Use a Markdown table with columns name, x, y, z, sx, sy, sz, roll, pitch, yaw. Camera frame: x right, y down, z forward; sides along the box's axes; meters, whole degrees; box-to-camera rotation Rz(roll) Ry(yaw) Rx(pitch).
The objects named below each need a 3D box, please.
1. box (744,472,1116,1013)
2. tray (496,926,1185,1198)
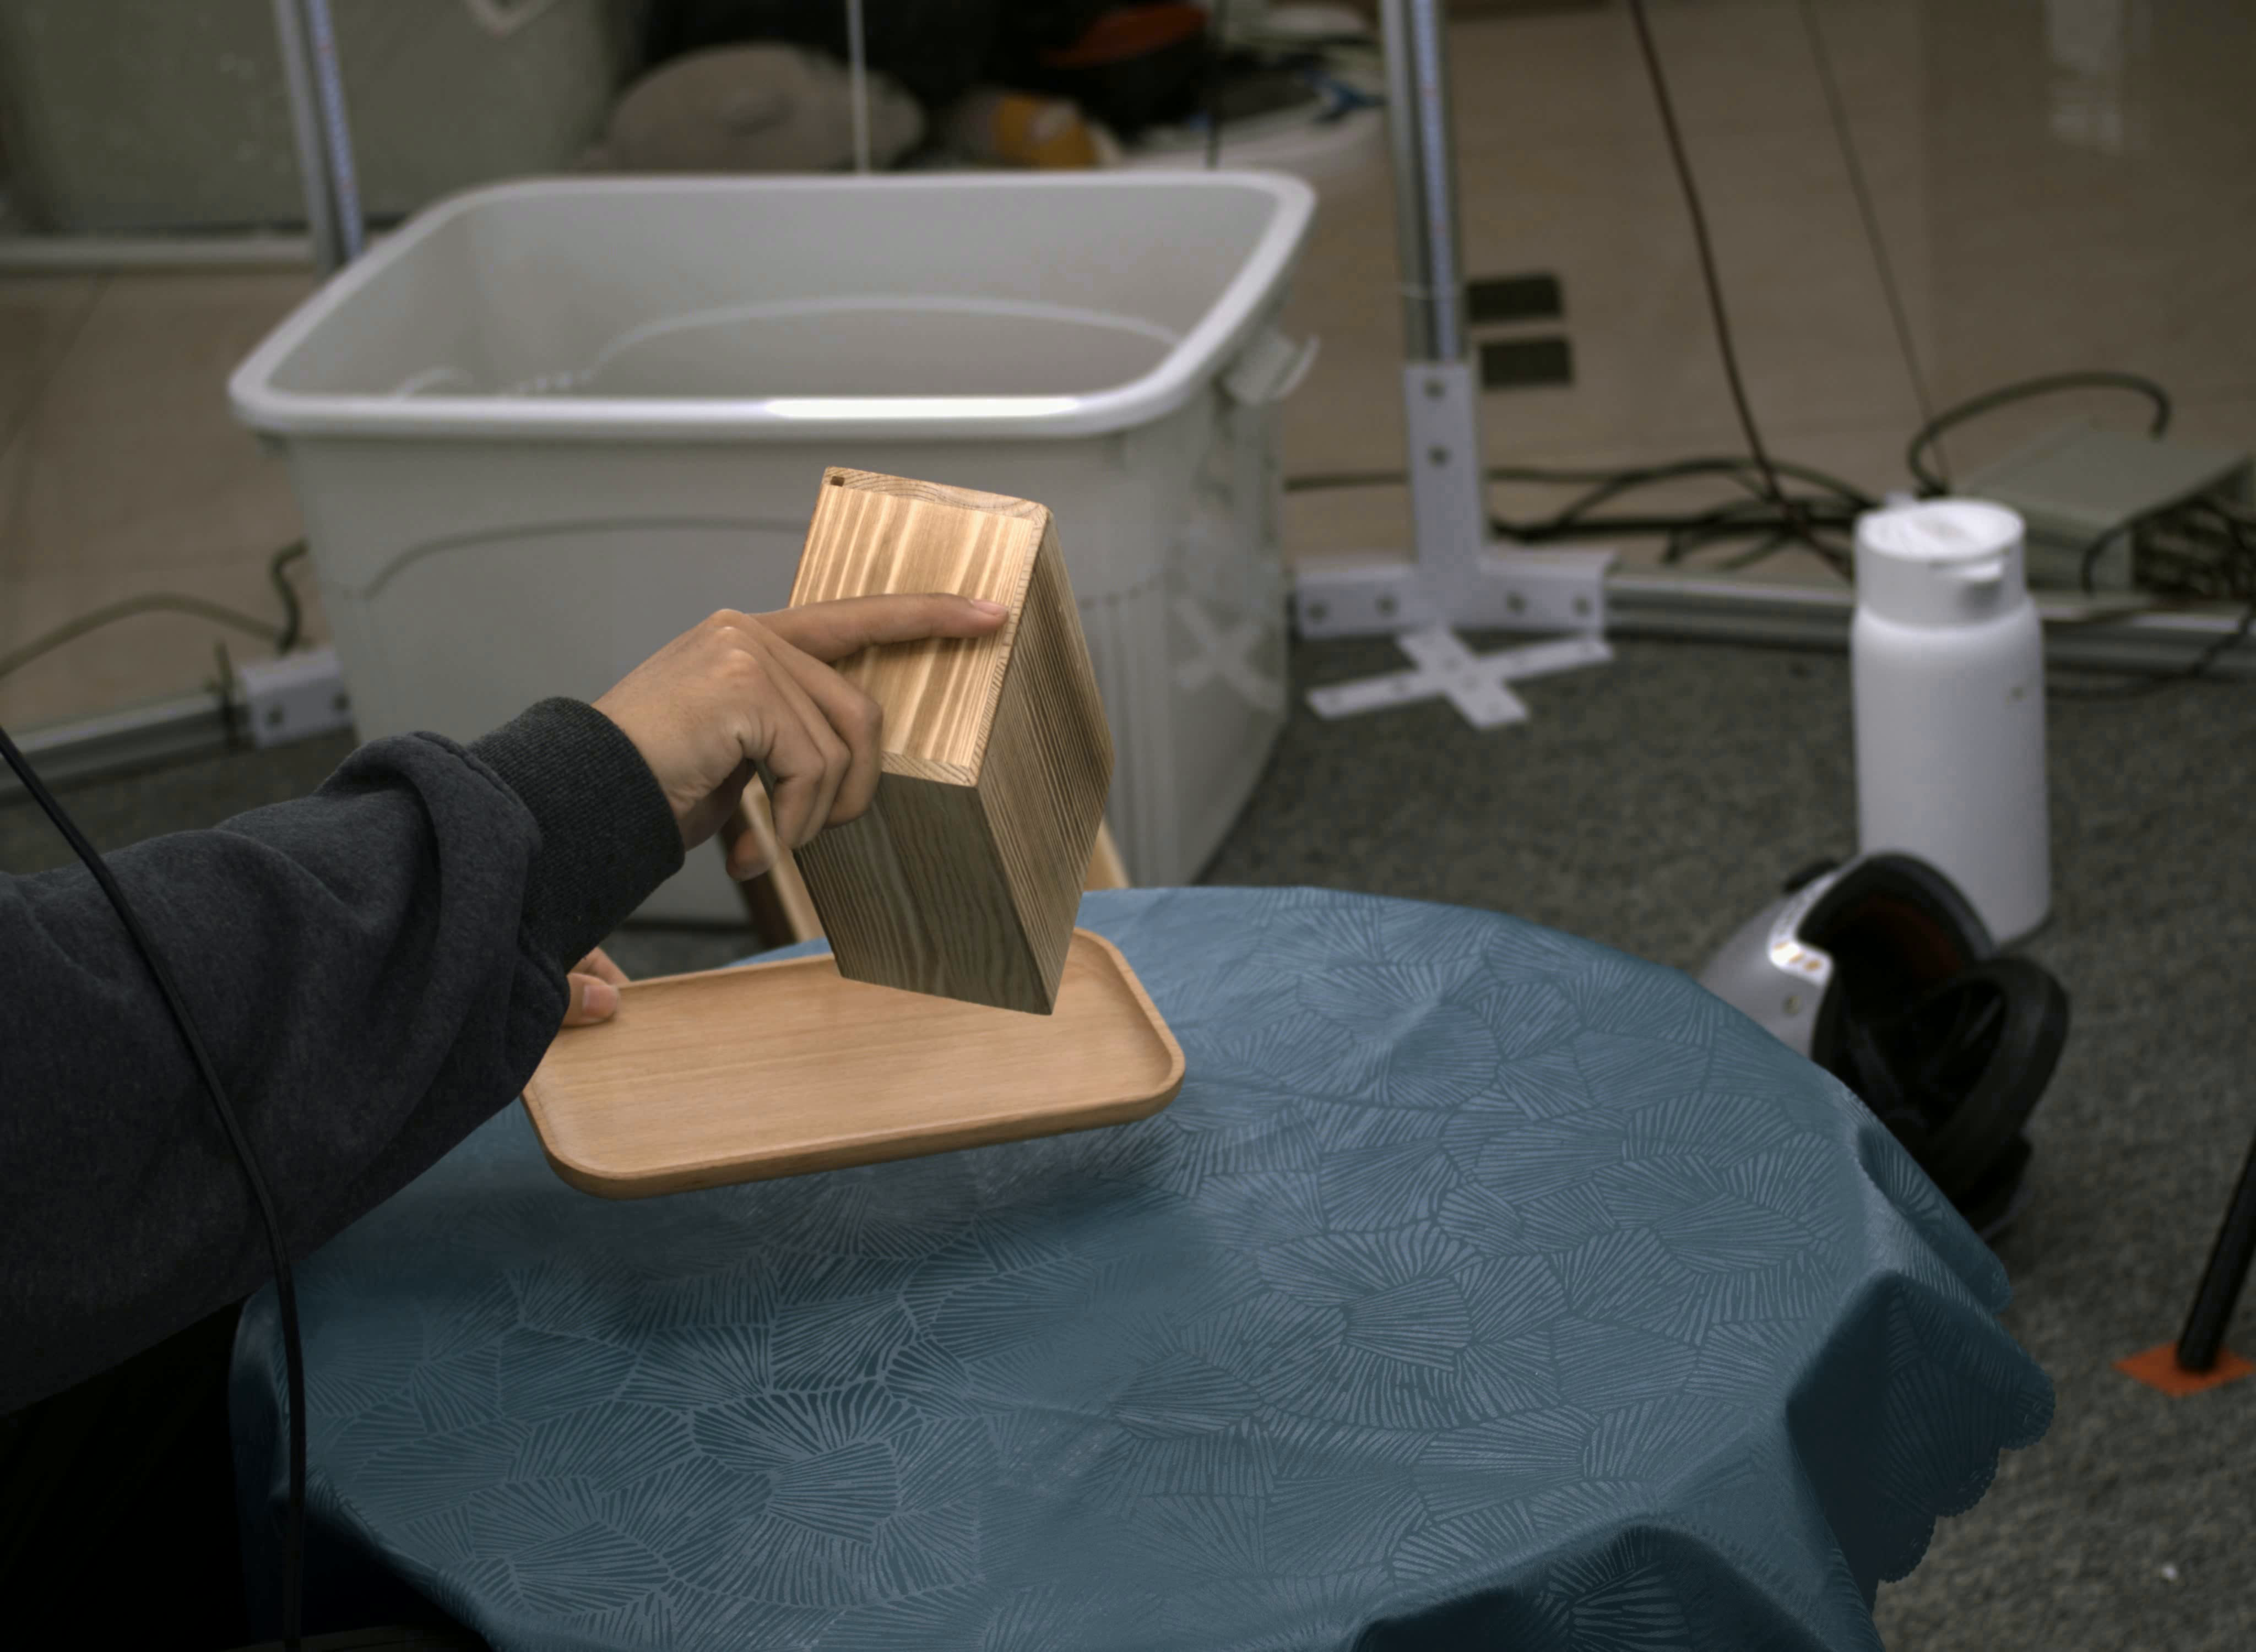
| name | x | y | z | sx | sy | sz | roll | pitch | yaw |
| --- | --- | --- | --- | --- | --- | --- | --- | --- | --- |
| box | -0.065 | -0.026 | 1.968 | 0.080 | 0.214 | 0.106 | 11 | 70 | 11 |
| tray | -0.109 | 0.089 | 2.153 | 0.250 | 0.023 | 0.128 | -8 | 31 | -18 |
